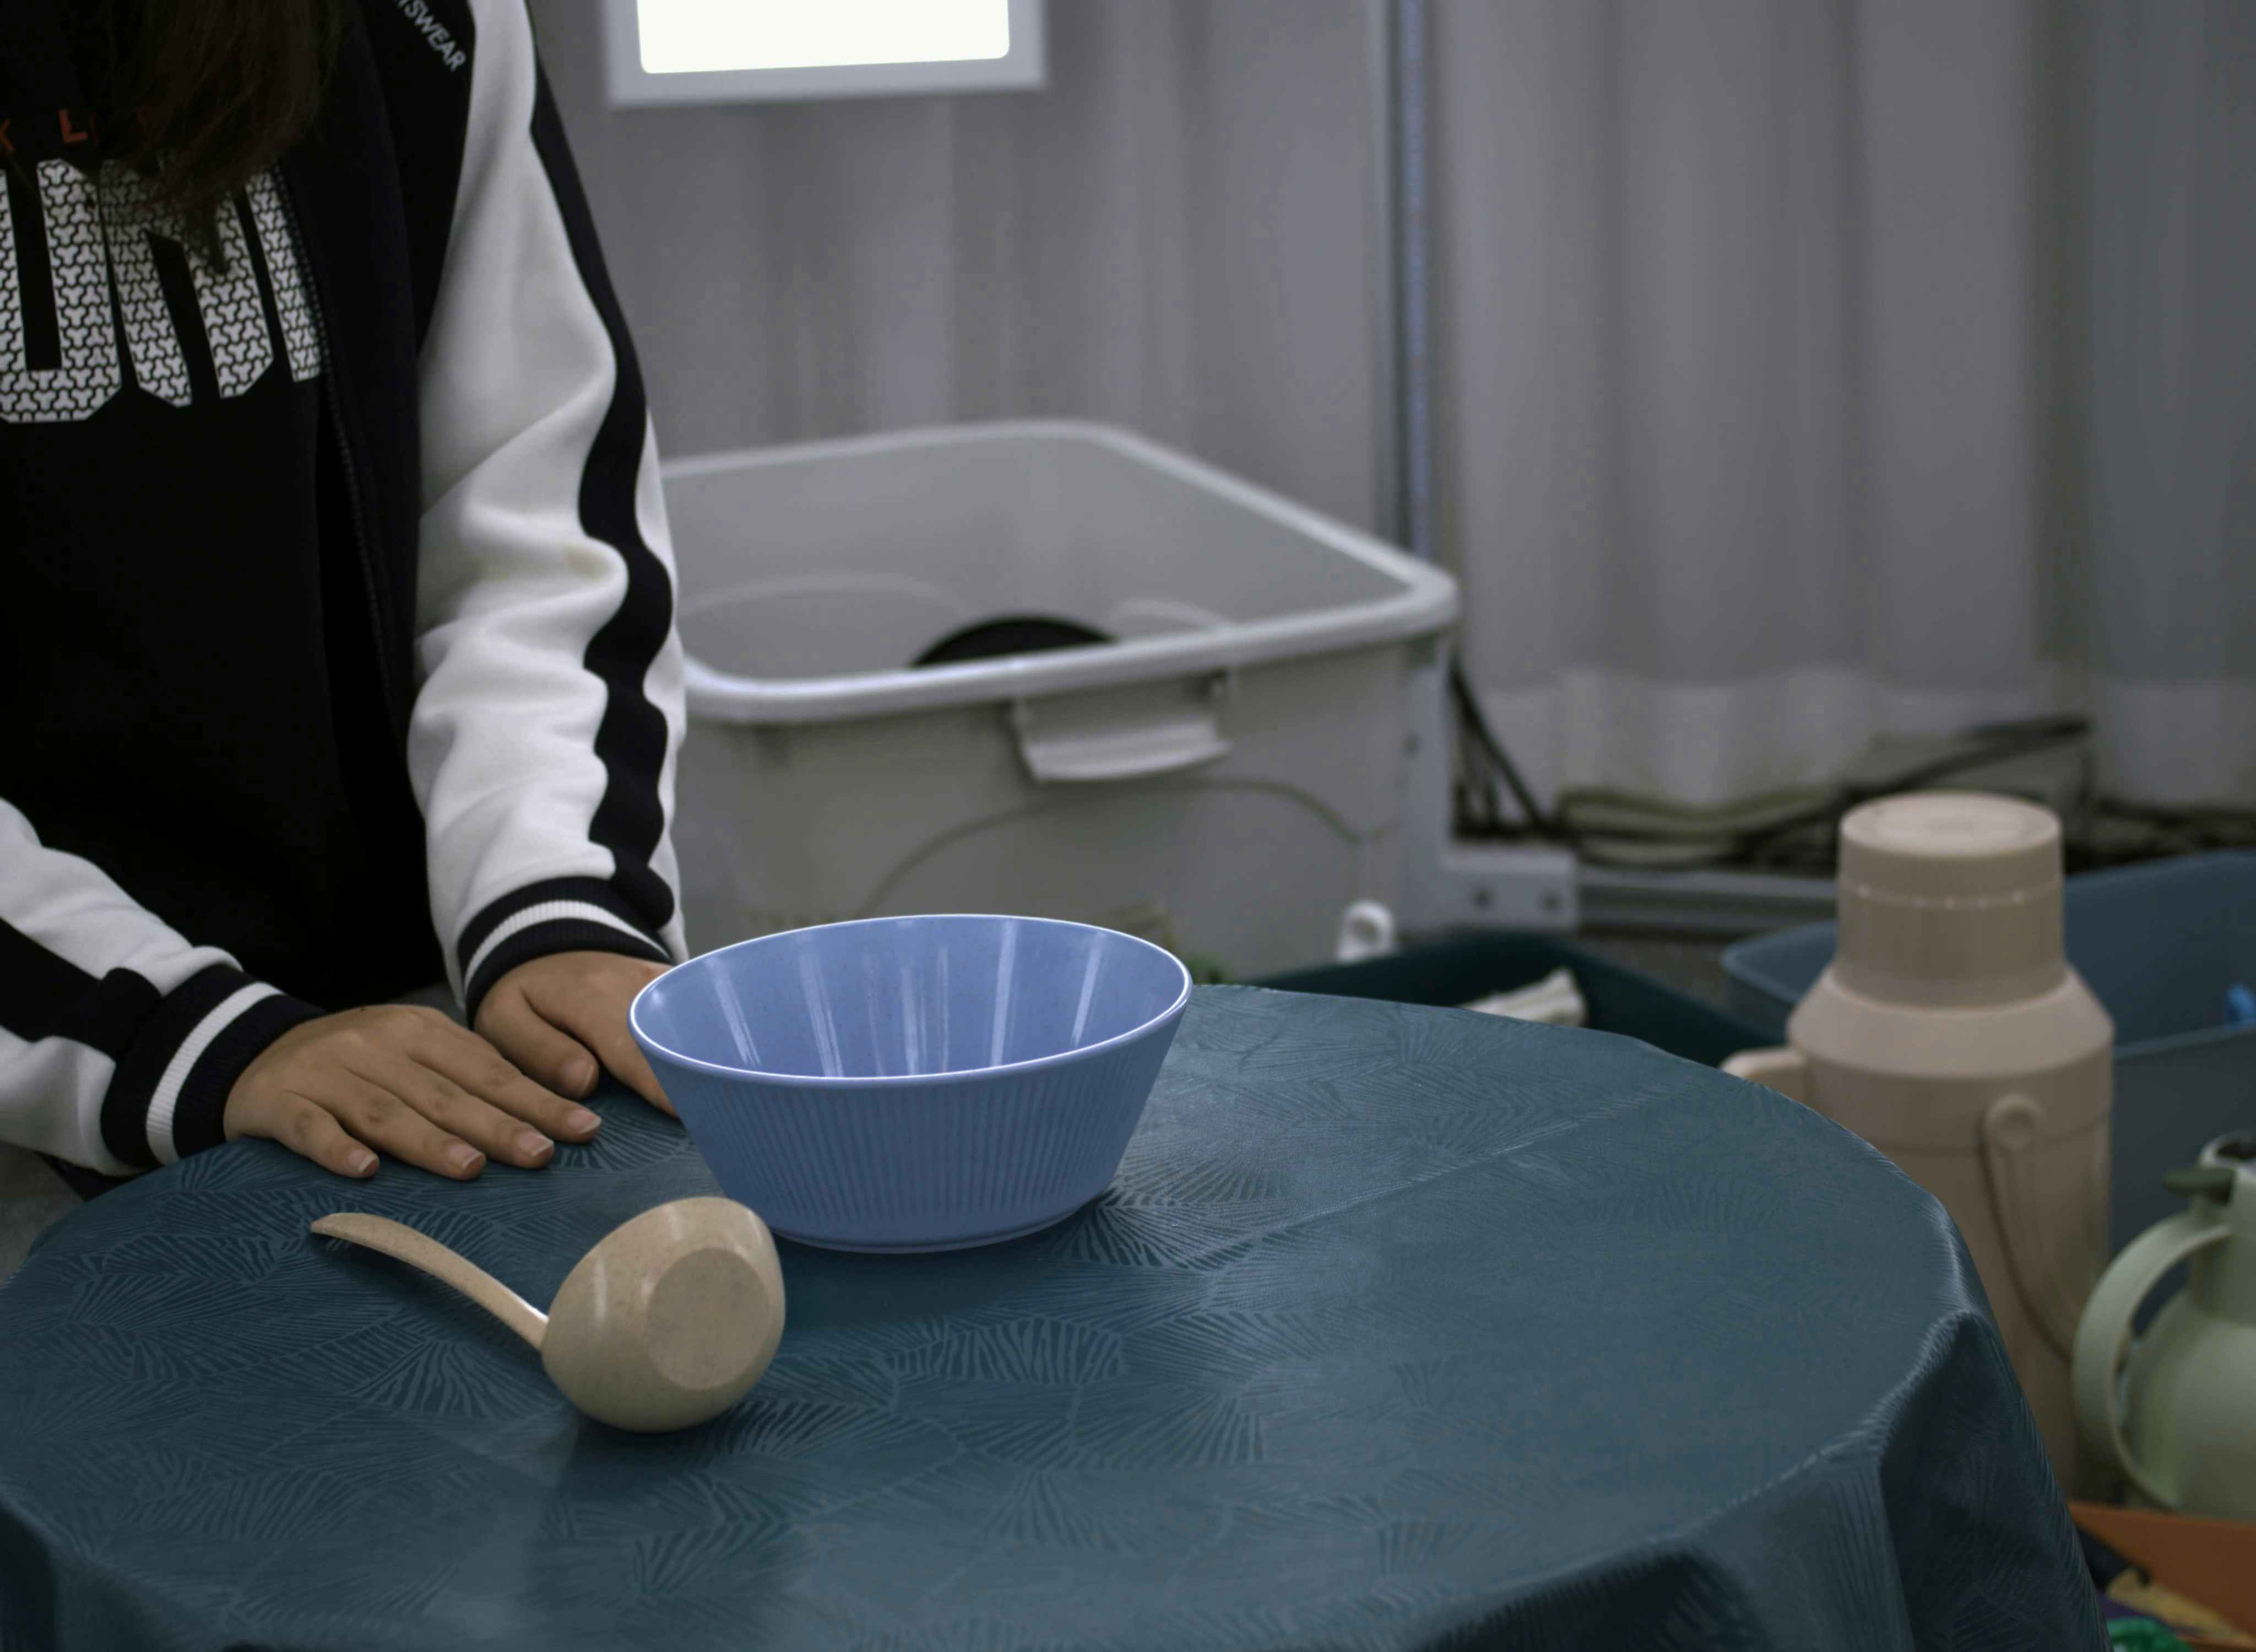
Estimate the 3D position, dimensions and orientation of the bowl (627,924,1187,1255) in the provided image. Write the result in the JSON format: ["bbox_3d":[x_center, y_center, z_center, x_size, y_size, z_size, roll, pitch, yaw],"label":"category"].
[{"bbox_3d":[-0.068,0.084,1.709,0.175,0.070,0.177,-2,14,0],"label":"bowl"}]

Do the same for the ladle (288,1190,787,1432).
[{"bbox_3d":[-0.185,0.116,1.605,0.072,0.072,0.256,-7,15,-34],"label":"ladle"}]
